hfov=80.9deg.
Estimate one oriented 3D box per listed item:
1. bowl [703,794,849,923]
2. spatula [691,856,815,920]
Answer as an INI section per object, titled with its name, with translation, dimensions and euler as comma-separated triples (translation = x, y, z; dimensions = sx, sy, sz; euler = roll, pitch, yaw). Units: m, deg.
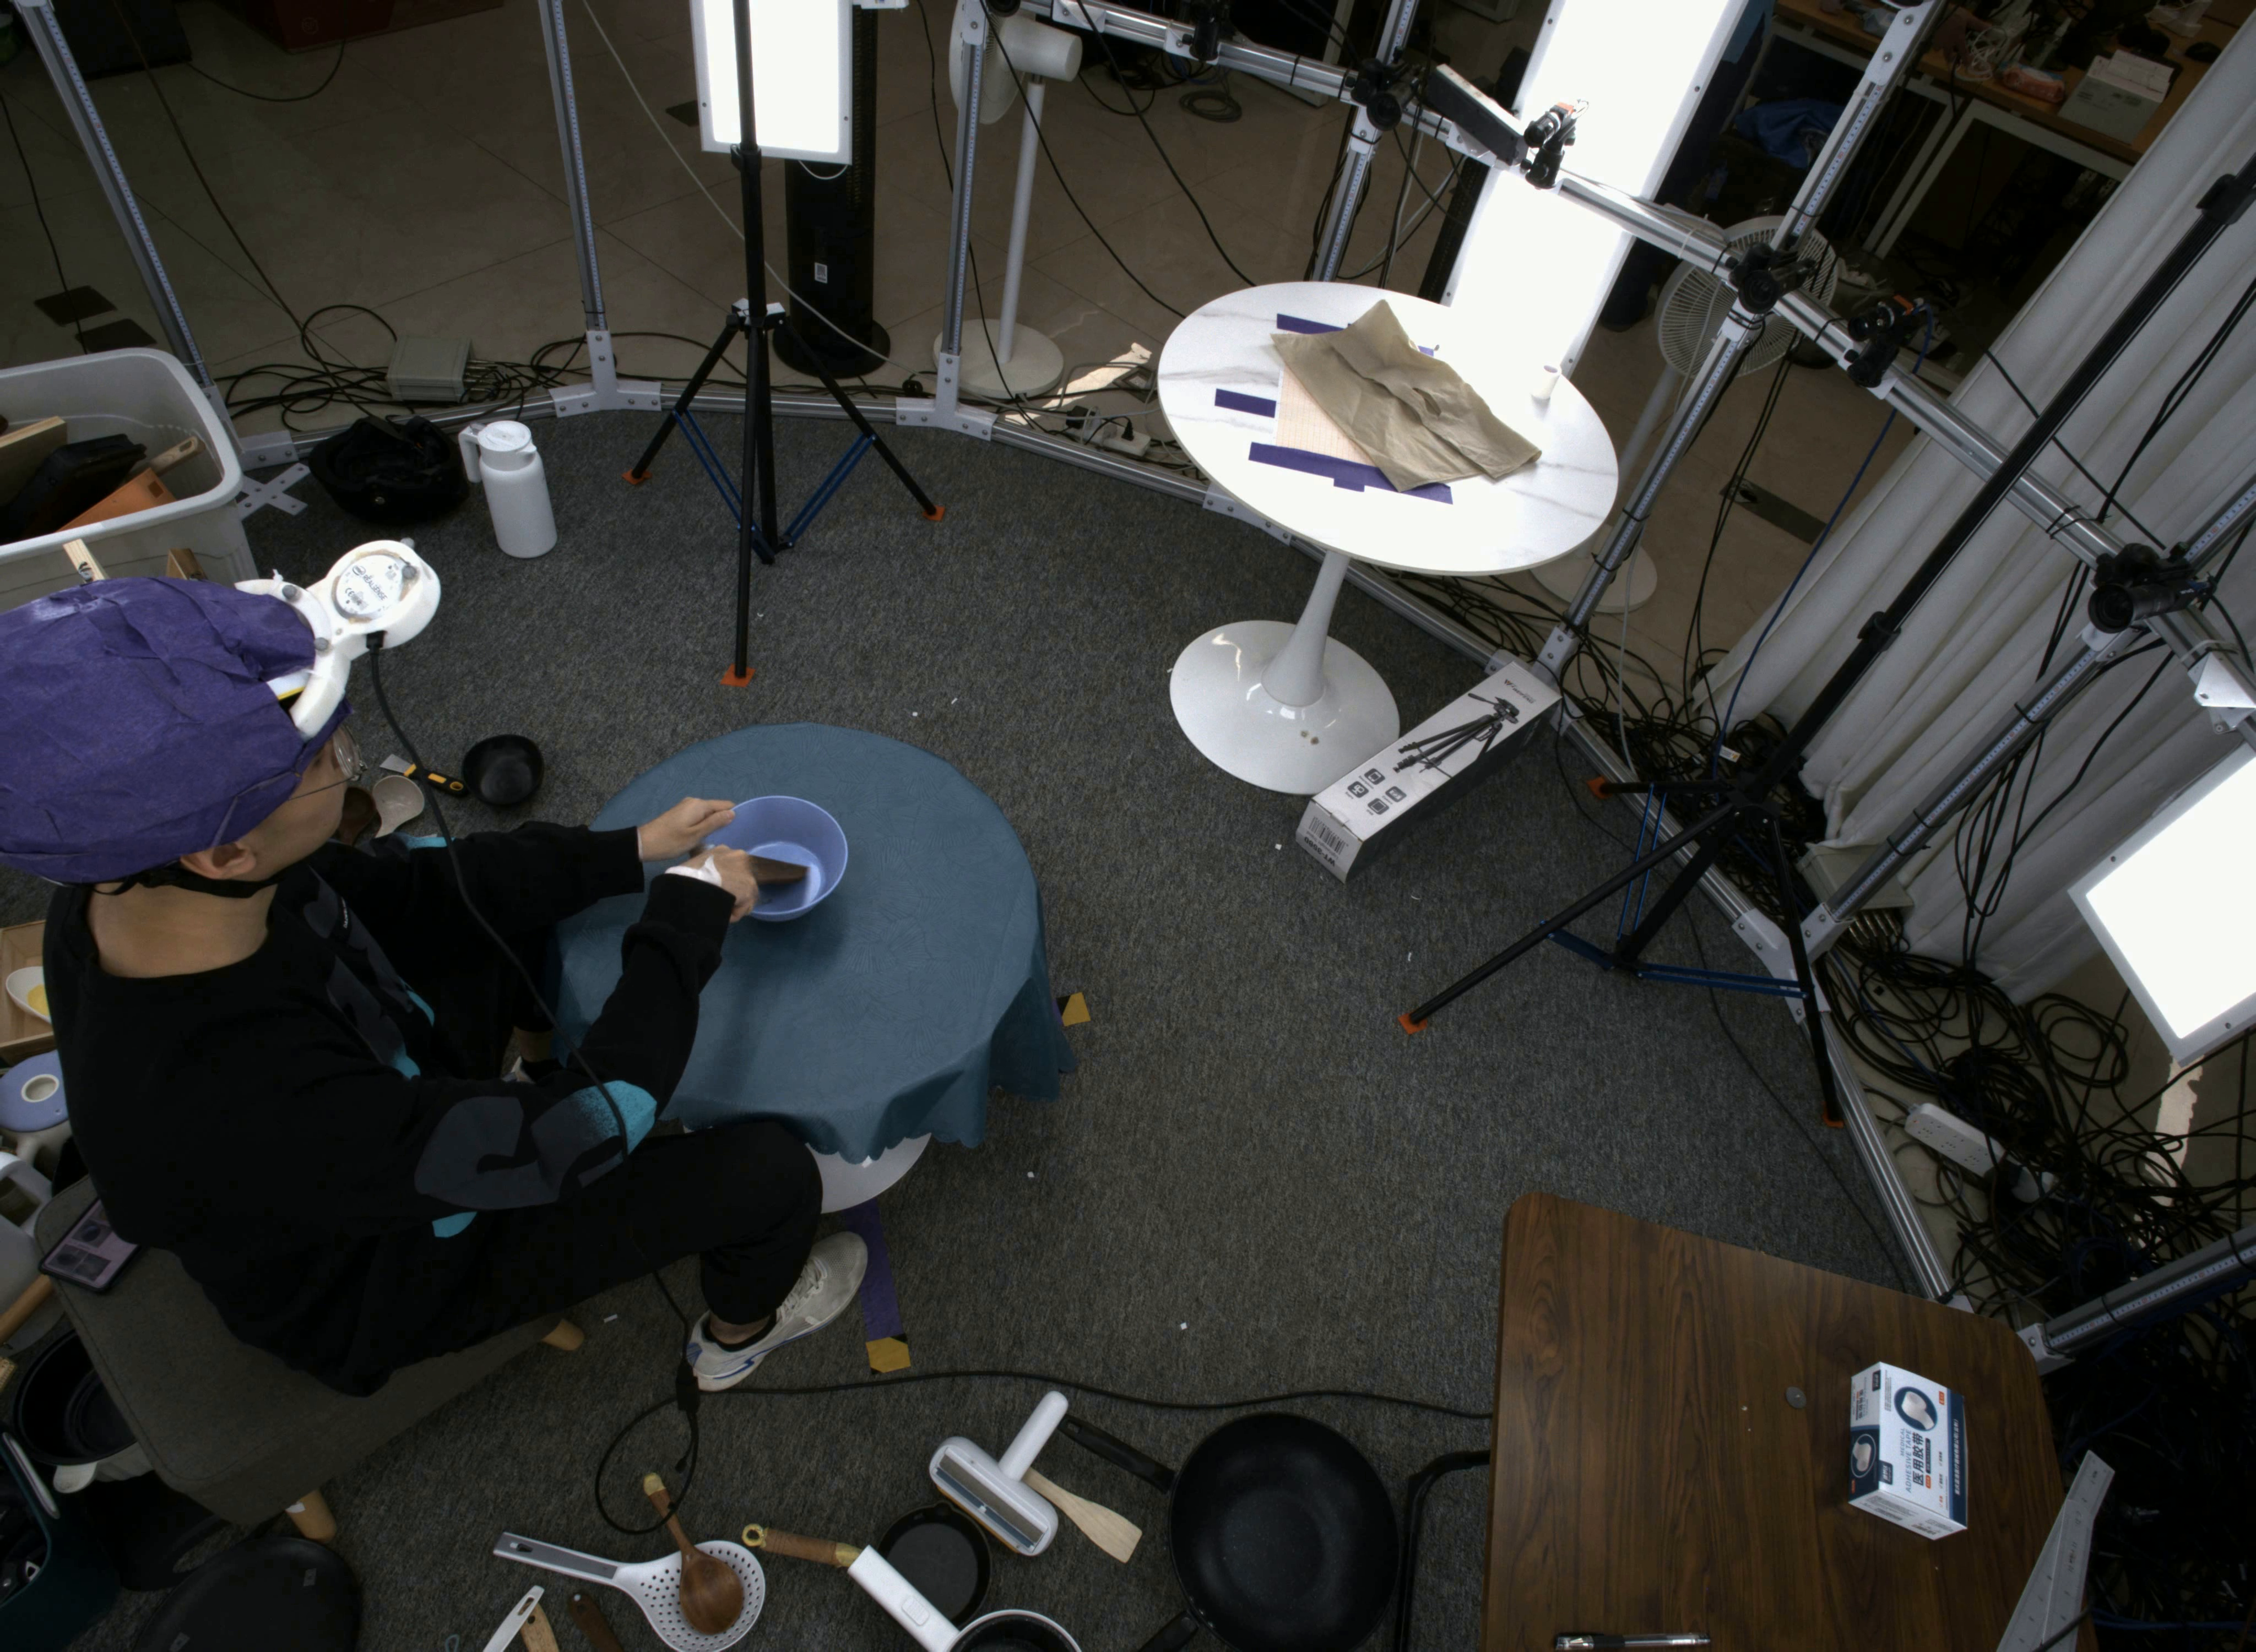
[bowl]
translation = -0.438, 0.051, 1.618
dimensions = 0.176, 0.071, 0.173
euler = 7, 59, -10
[spatula]
translation = -0.432, 0.066, 1.463
dimensions = 0.096, 0.382, 0.016
euler = 12, 94, -5
